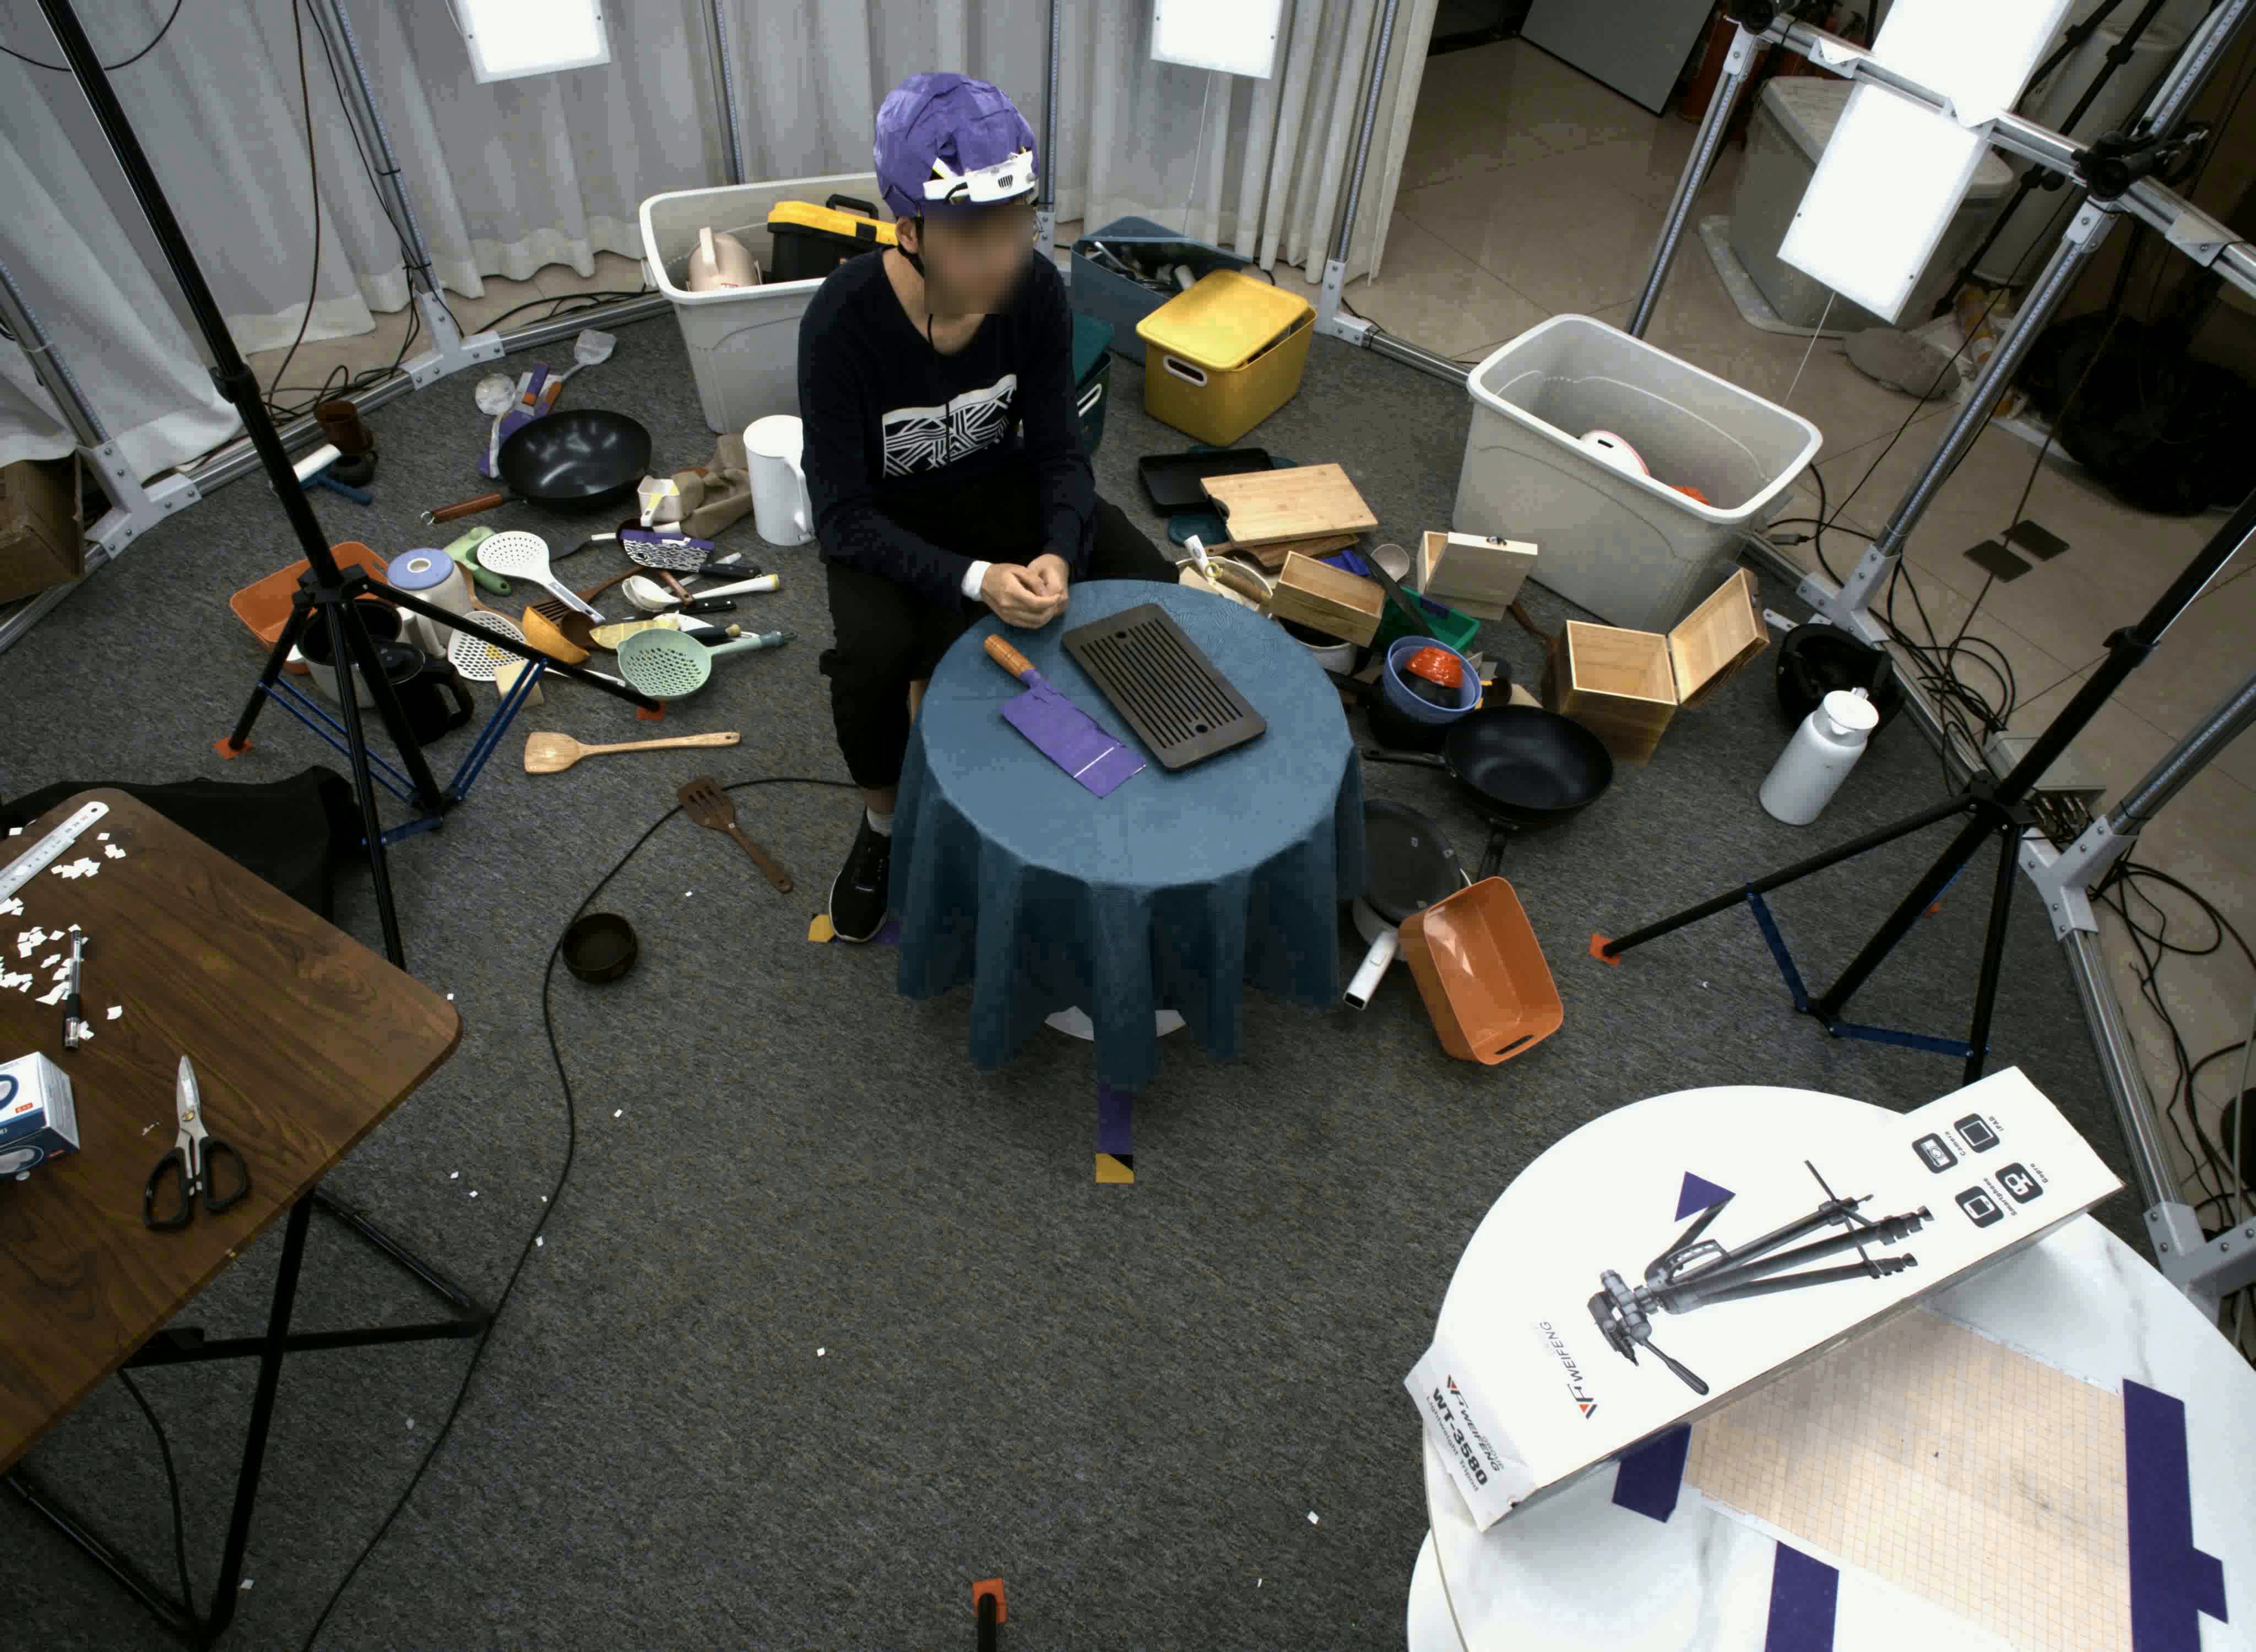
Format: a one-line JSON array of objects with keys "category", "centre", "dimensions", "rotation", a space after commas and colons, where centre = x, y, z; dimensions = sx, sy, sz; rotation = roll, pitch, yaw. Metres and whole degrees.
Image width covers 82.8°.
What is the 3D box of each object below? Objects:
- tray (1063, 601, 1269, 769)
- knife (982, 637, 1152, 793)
[{"category": "tray", "centre": [0.051, -0.206, 1.837], "dimensions": [0.170, 0.018, 0.312], "rotation": [-23, 54, -22]}, {"category": "knife", "centre": [-0.111, -0.157, 1.778], "dimensions": [0.105, 0.031, 0.320], "rotation": [-35, 60, -30]}]
